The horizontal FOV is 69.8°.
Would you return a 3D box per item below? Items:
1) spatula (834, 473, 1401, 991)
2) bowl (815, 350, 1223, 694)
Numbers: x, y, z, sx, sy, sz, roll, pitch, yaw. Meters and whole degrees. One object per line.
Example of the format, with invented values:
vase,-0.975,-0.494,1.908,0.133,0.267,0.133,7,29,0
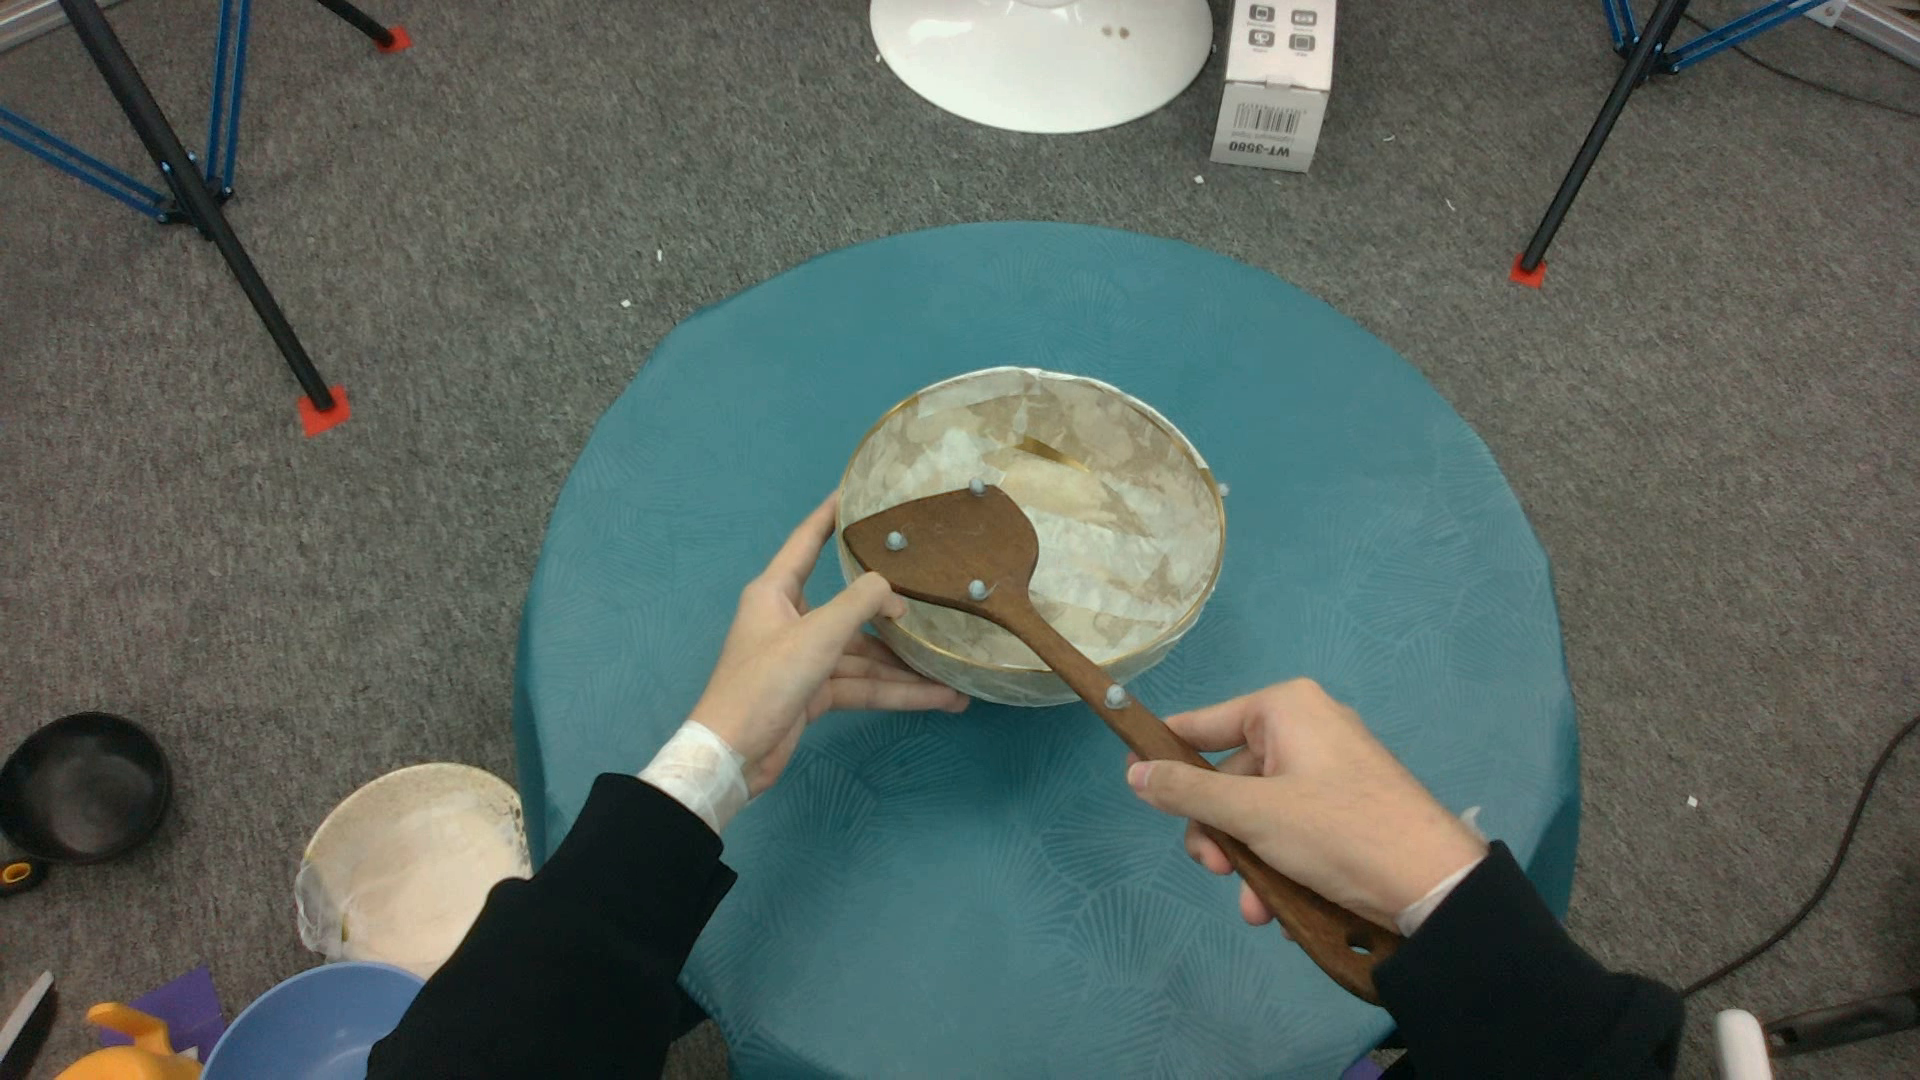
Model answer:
spatula,0.053,0.057,0.594,0.096,0.016,0.386,-16,32,-21
bowl,0.026,0.005,0.732,0.215,0.094,0.215,3,53,-3
